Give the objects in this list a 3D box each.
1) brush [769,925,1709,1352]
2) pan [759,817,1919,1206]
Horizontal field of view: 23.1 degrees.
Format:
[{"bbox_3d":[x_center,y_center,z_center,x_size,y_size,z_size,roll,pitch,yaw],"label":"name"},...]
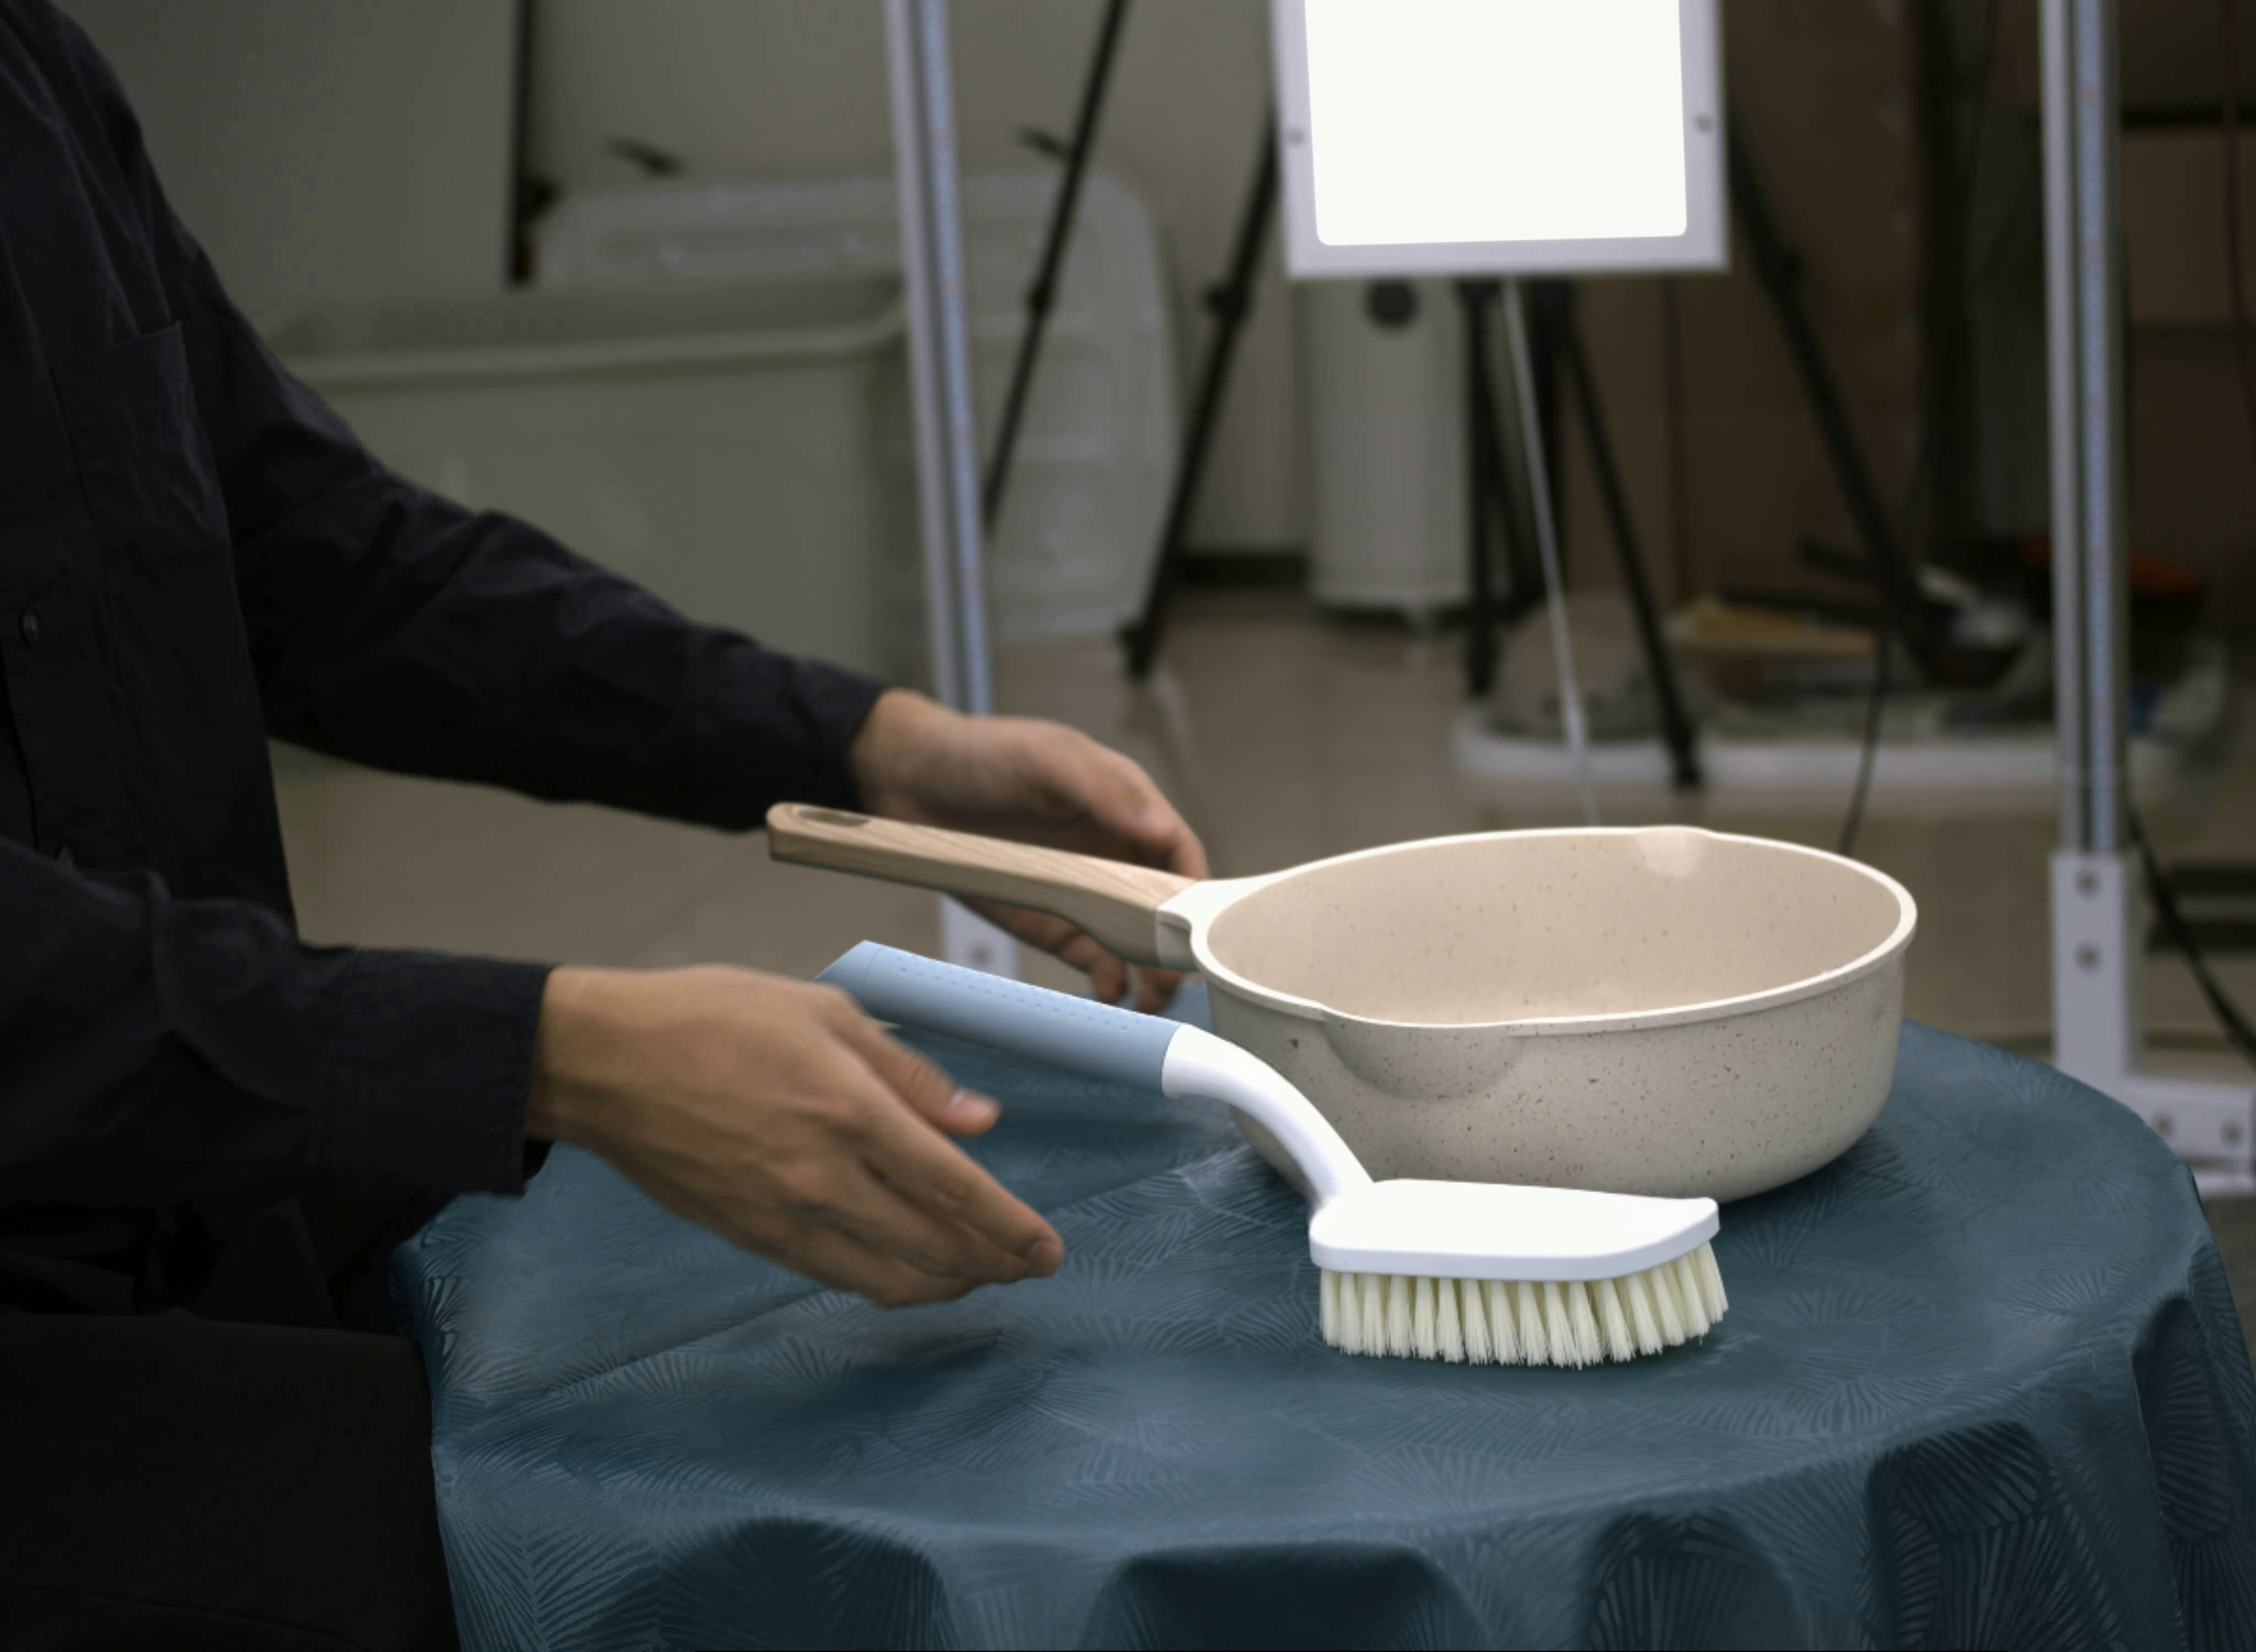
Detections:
[{"bbox_3d":[0.030,0.113,1.760,0.329,0.084,0.082,14,-17,22],"label":"brush"},{"bbox_3d":[0.067,0.056,1.946,0.442,0.102,0.258,3,16,27],"label":"pan"}]
